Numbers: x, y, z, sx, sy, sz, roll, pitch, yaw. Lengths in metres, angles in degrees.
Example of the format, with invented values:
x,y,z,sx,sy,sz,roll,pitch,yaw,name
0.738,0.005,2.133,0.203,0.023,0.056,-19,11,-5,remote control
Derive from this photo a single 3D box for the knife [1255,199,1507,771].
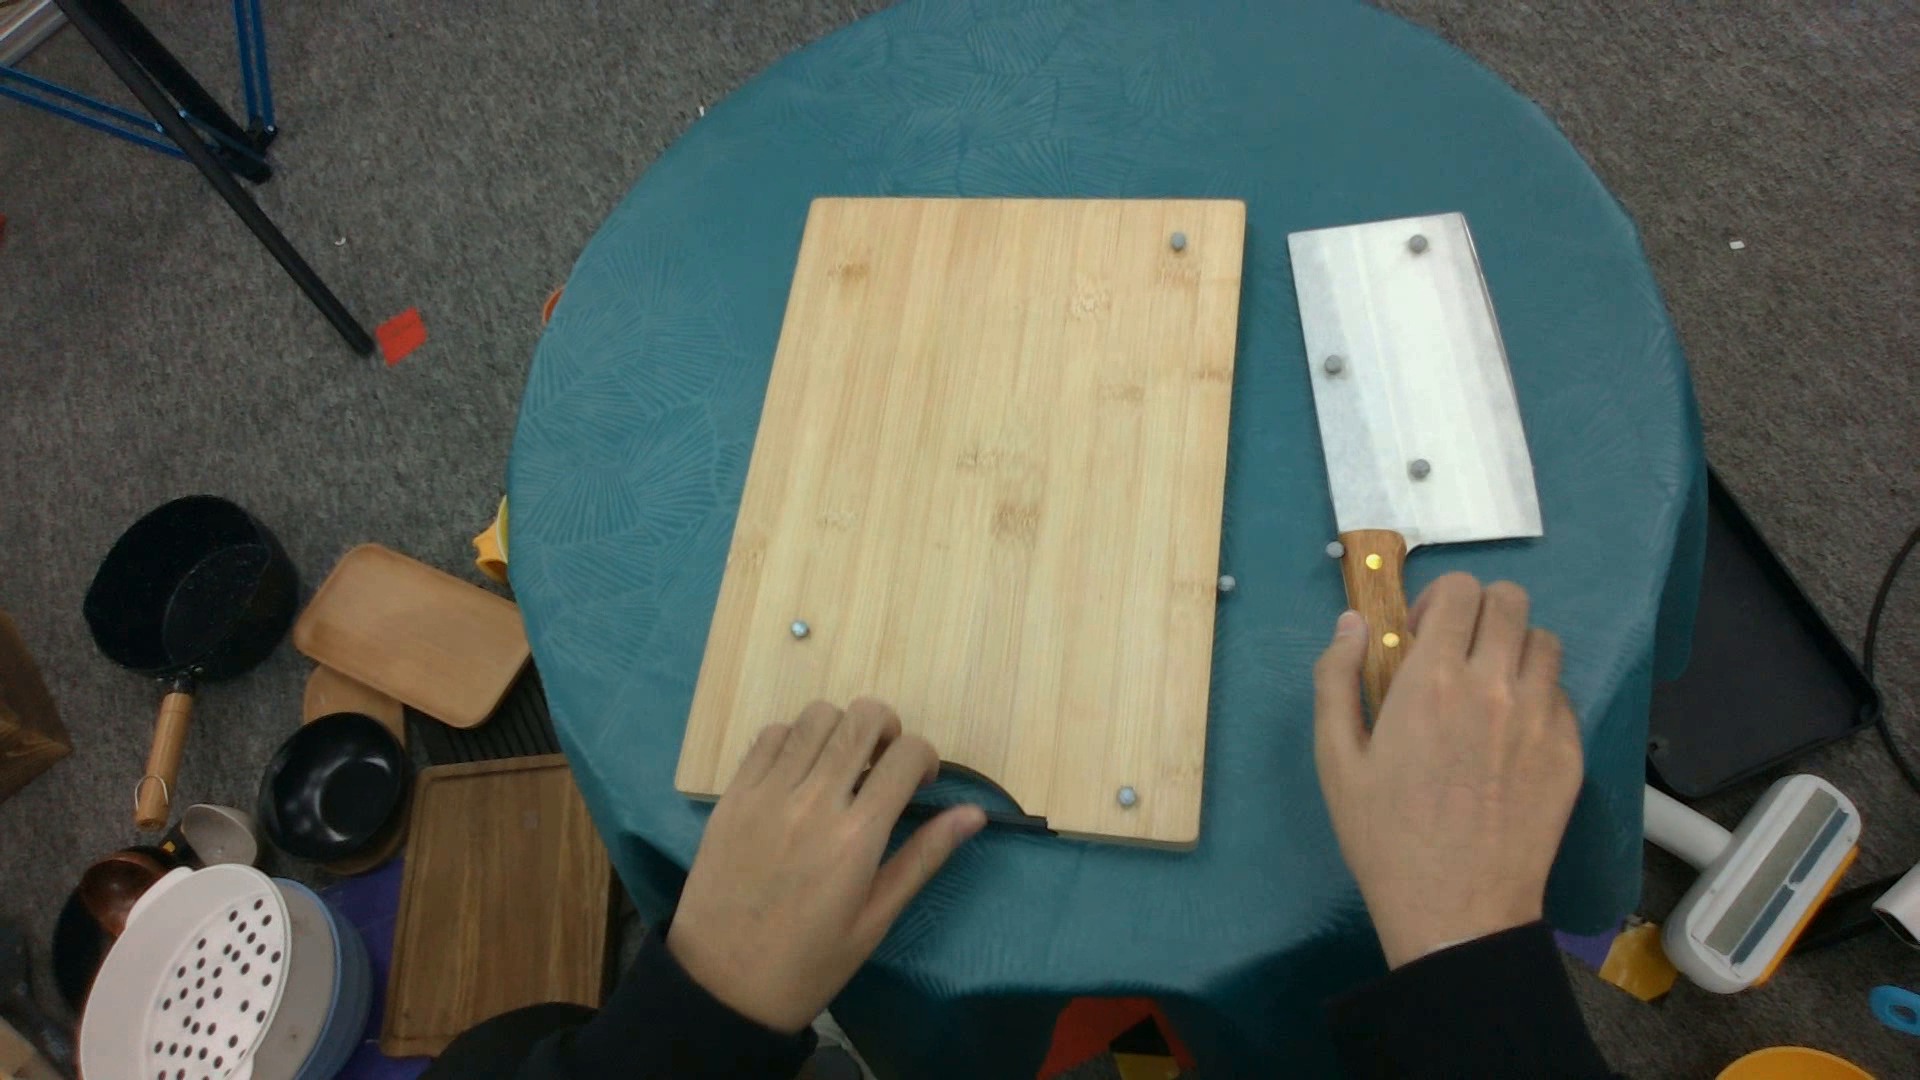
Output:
x,y,z,sx,sy,sz,roll,pitch,yaw,name
0.205,-0.041,0.653,0.093,0.021,0.307,-5,62,5,knife

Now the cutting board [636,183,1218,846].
x,y,z,sx,sy,sz,roll,pitch,yaw,name
-0.005,-0.033,0.682,0.250,0.023,0.350,2,65,10,cutting board
